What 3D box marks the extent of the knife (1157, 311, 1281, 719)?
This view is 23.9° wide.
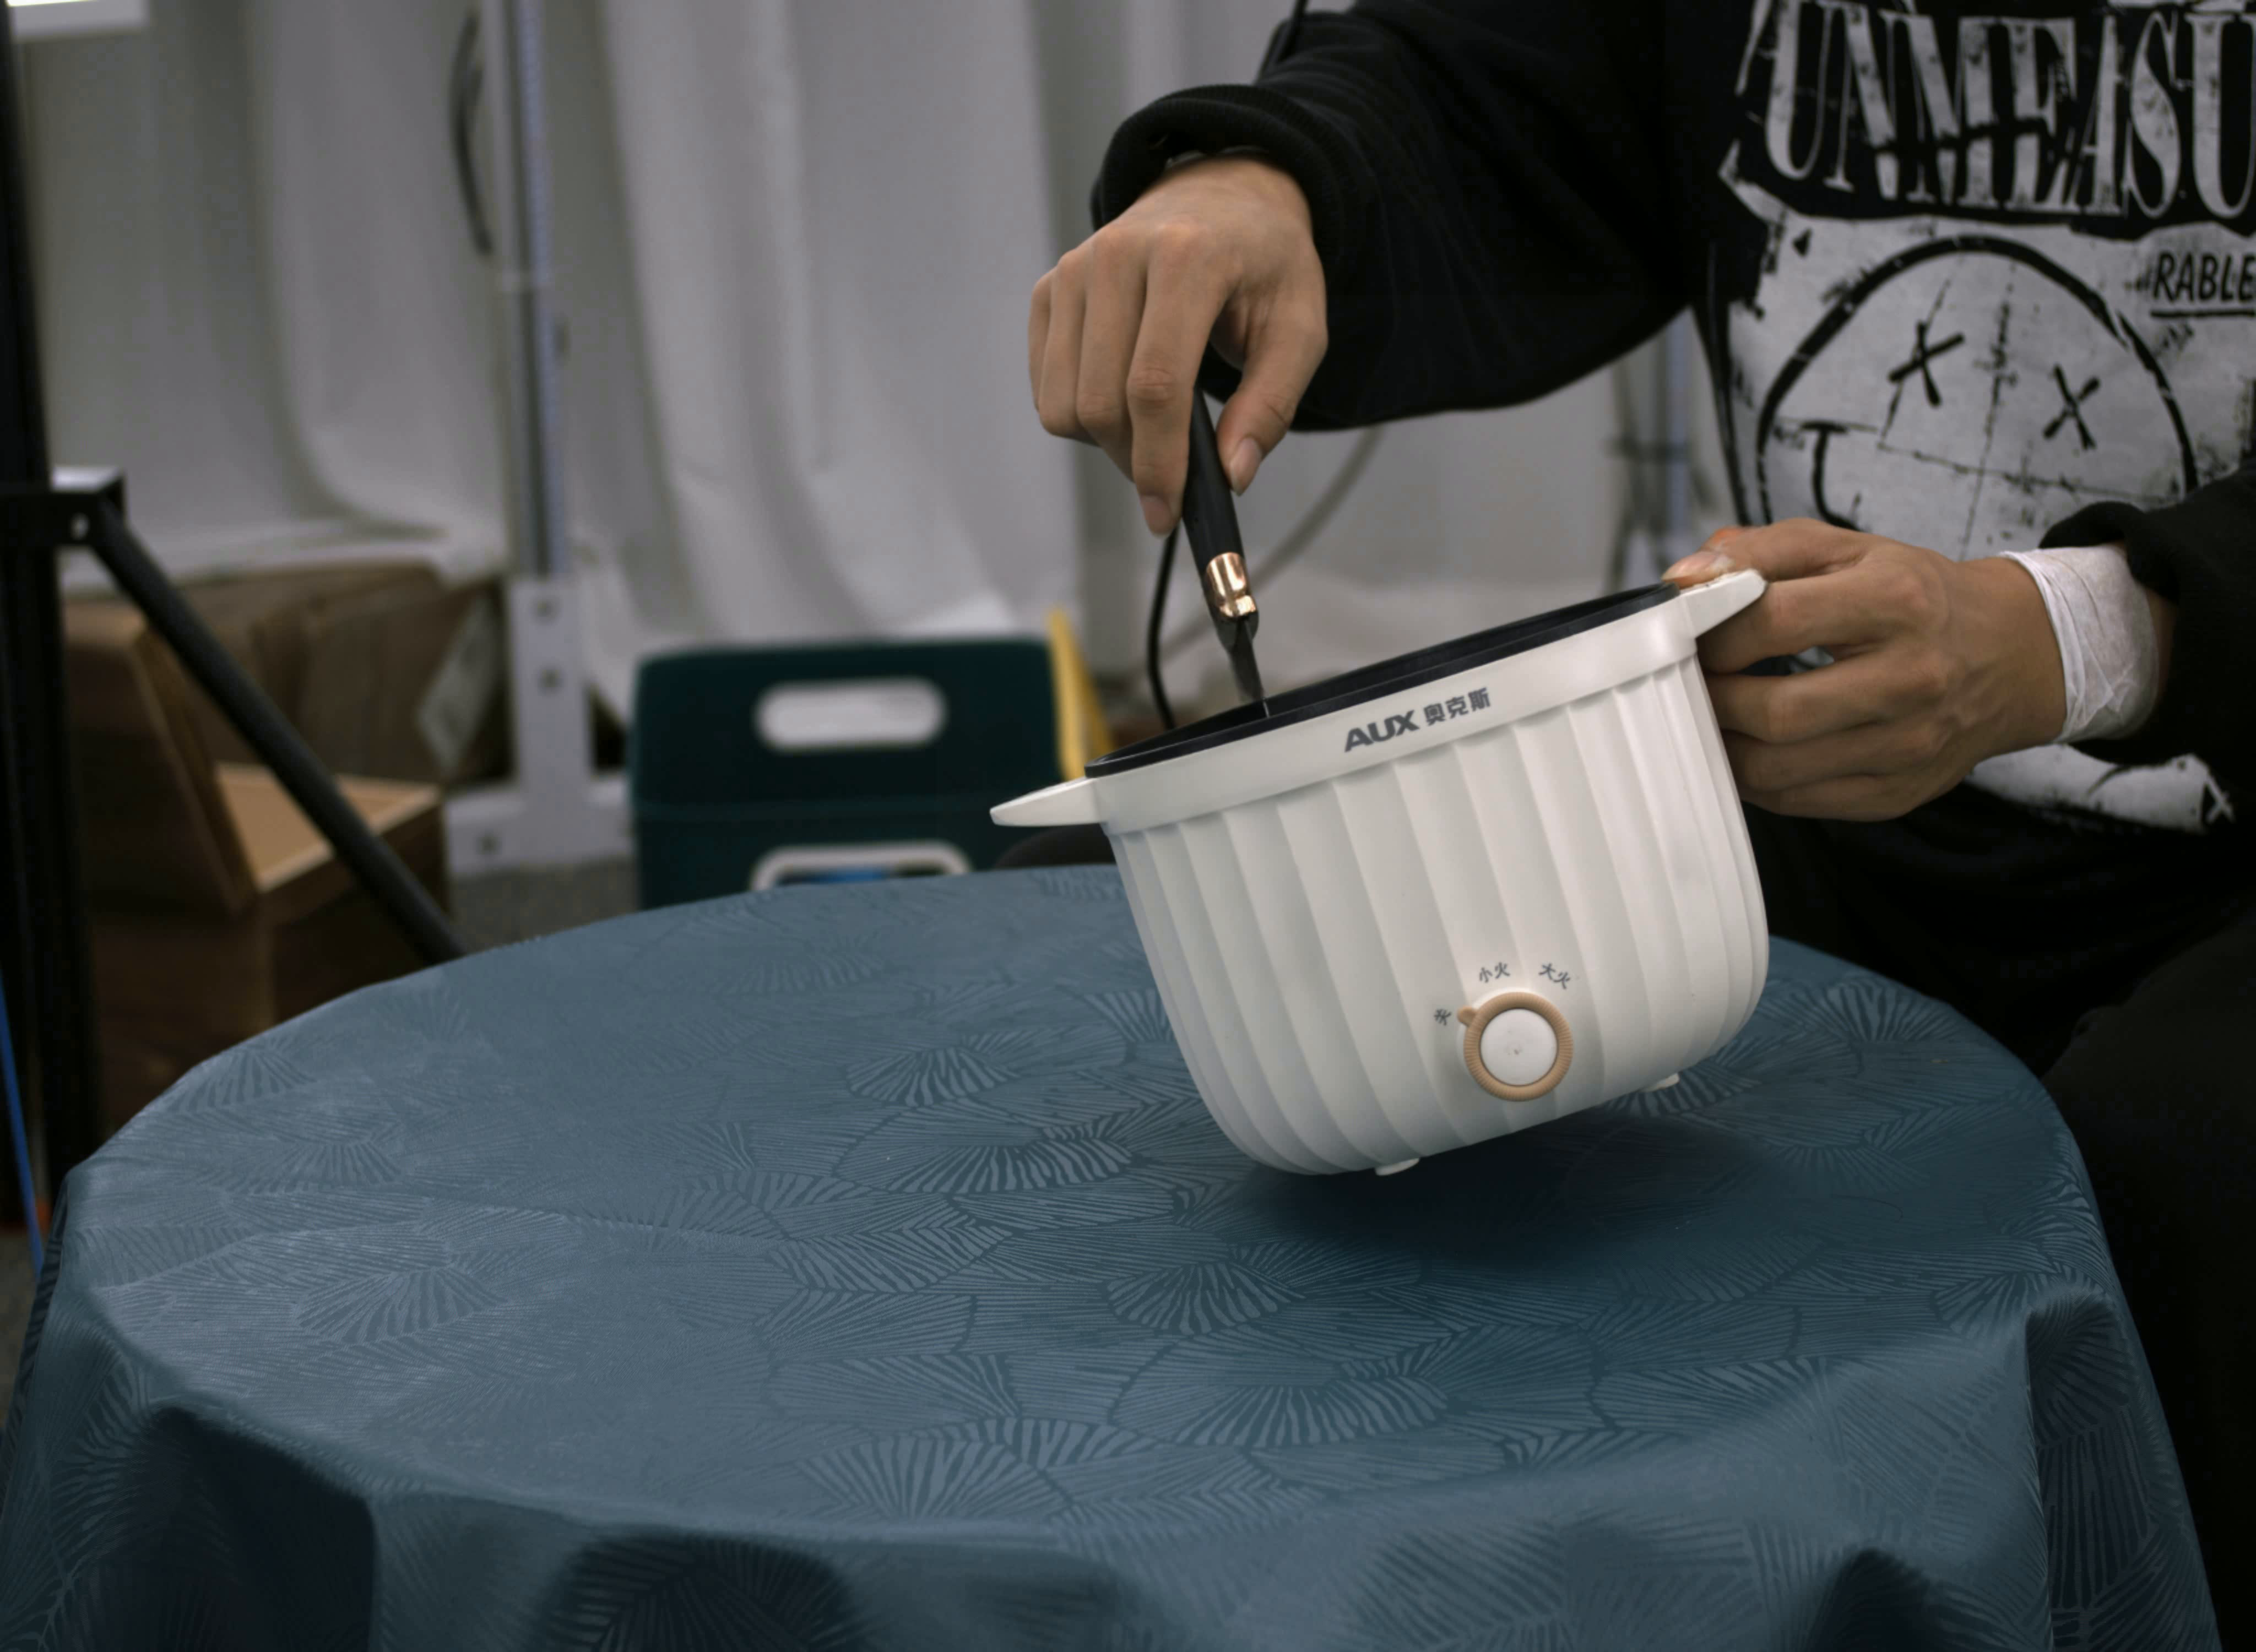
[{"bbox_3d":[0.037,-0.058,1.610,0.017,0.228,0.026,-3,-26,-20],"label":"knife"}]

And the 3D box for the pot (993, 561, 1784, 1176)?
[{"bbox_3d":[0.095,0.019,1.533,0.239,0.143,0.190,-18,-2,0],"label":"pot"}]
